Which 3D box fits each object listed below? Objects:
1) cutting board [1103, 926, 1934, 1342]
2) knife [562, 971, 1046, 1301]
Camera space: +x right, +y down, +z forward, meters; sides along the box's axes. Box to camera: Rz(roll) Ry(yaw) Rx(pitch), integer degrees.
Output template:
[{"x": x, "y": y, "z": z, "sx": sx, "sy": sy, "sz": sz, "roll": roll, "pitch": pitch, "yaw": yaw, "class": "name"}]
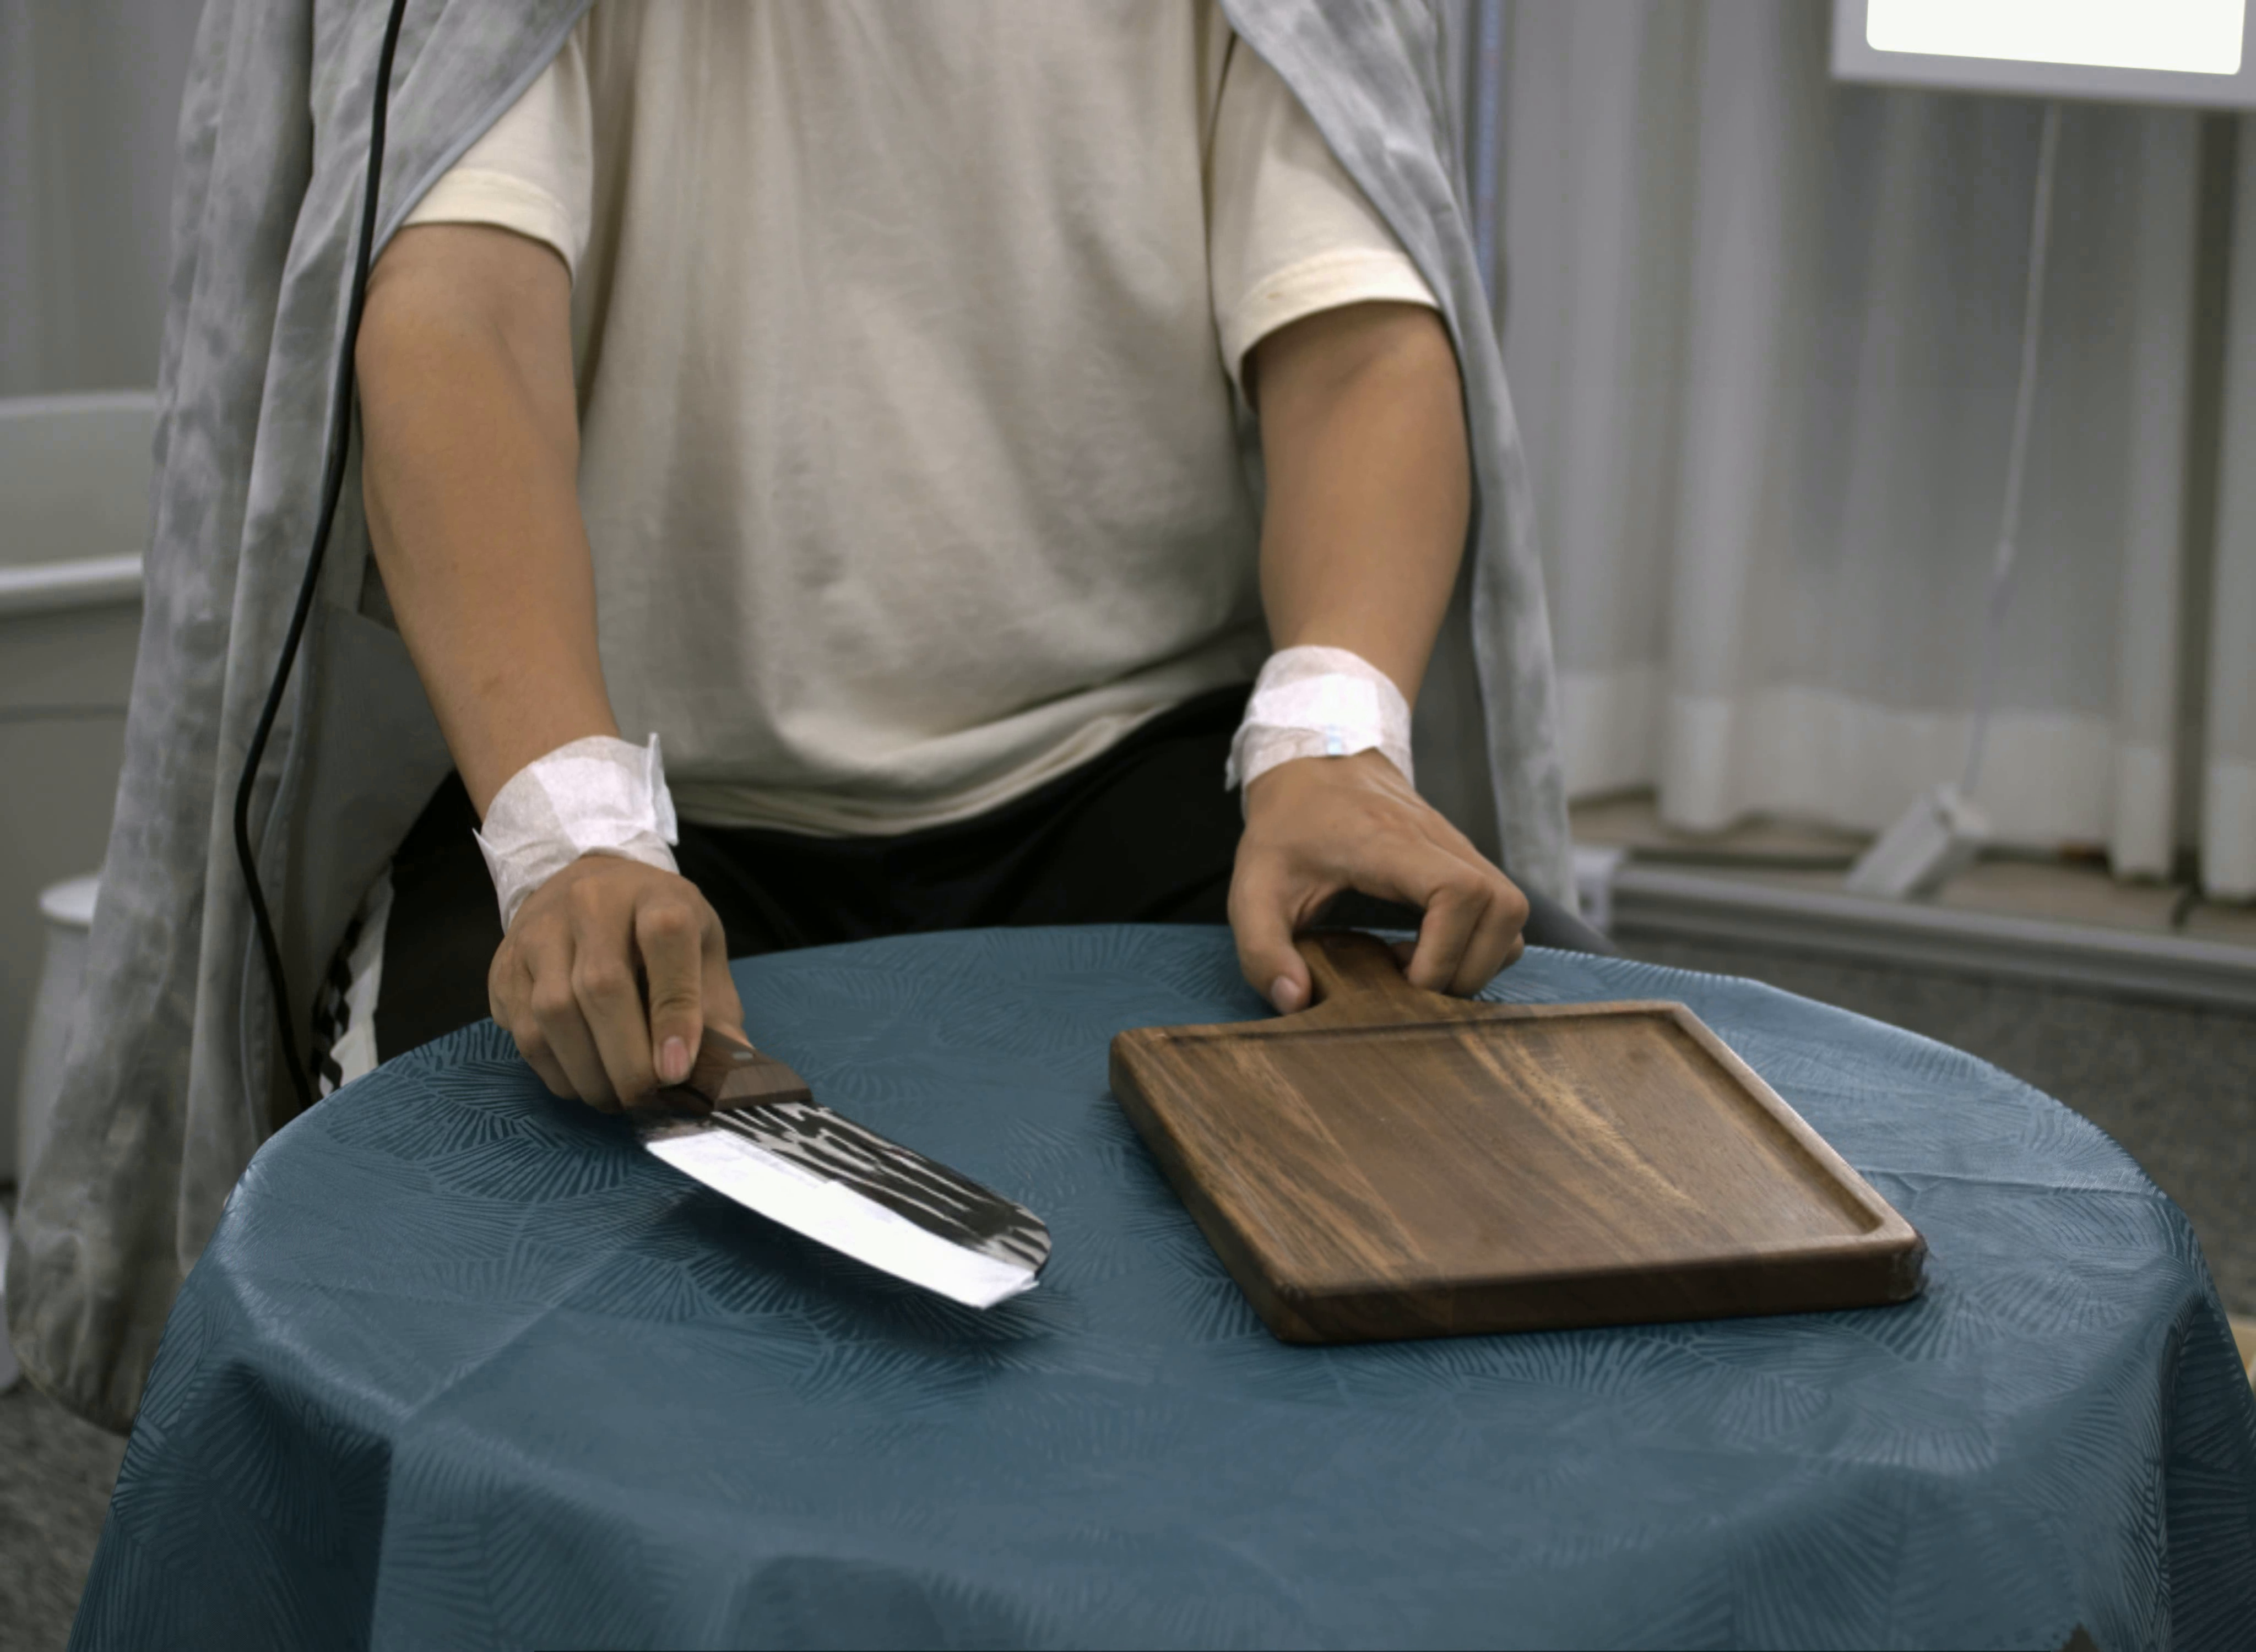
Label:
[{"x": 0.104, "y": 0.089, "z": 1.674, "sx": 0.201, "sy": 0.023, "sz": 0.349, "roll": -3, "pitch": 15, "yaw": -12, "class": "cutting board"}, {"x": -0.110, "y": 0.094, "z": 1.596, "sx": 0.068, "sy": 0.024, "sz": 0.295, "roll": -8, "pitch": 19, "yaw": -34, "class": "knife"}]
